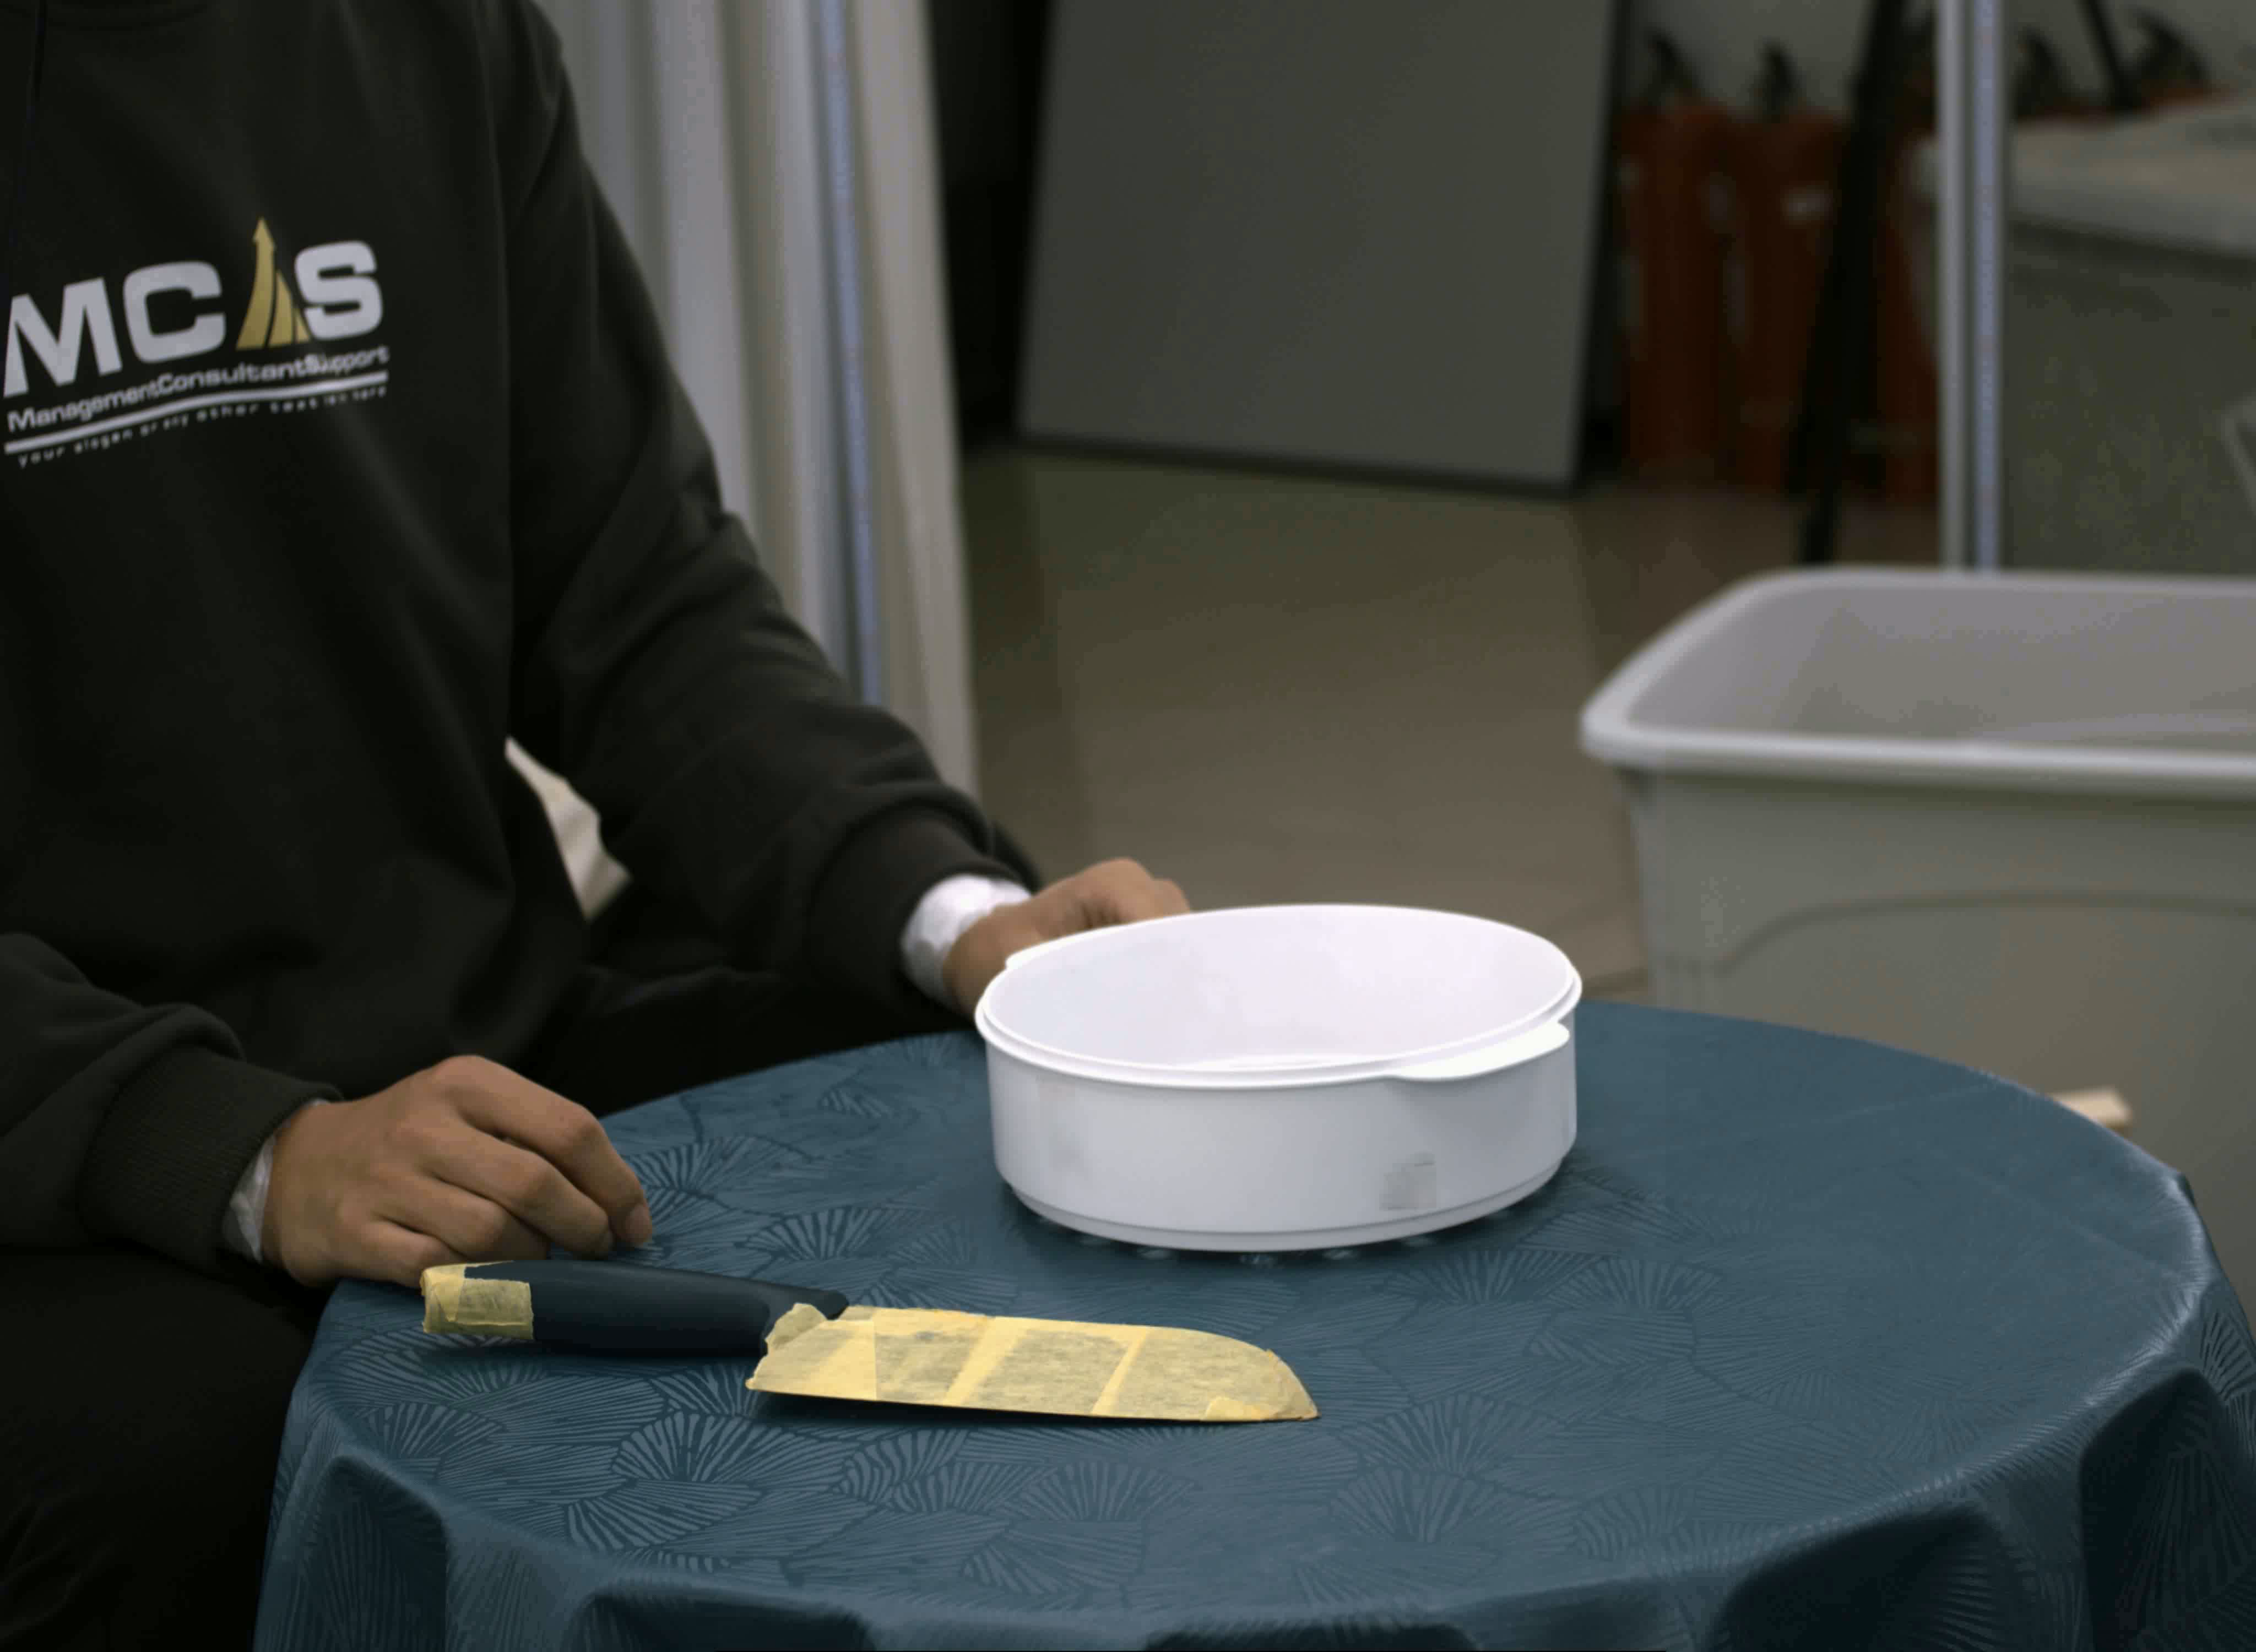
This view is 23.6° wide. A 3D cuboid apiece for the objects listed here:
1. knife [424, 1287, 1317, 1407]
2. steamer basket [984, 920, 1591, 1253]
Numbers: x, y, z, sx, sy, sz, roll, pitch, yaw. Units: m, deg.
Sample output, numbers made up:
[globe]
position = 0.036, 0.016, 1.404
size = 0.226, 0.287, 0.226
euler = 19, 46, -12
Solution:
[knife]
position = -0.081, 0.159, 1.611
size = 0.288, 0.027, 0.080
euler = 1, 13, 17
[steamer basket]
position = 0.054, 0.085, 1.766
size = 0.197, 0.070, 0.233
euler = -13, 15, -37
